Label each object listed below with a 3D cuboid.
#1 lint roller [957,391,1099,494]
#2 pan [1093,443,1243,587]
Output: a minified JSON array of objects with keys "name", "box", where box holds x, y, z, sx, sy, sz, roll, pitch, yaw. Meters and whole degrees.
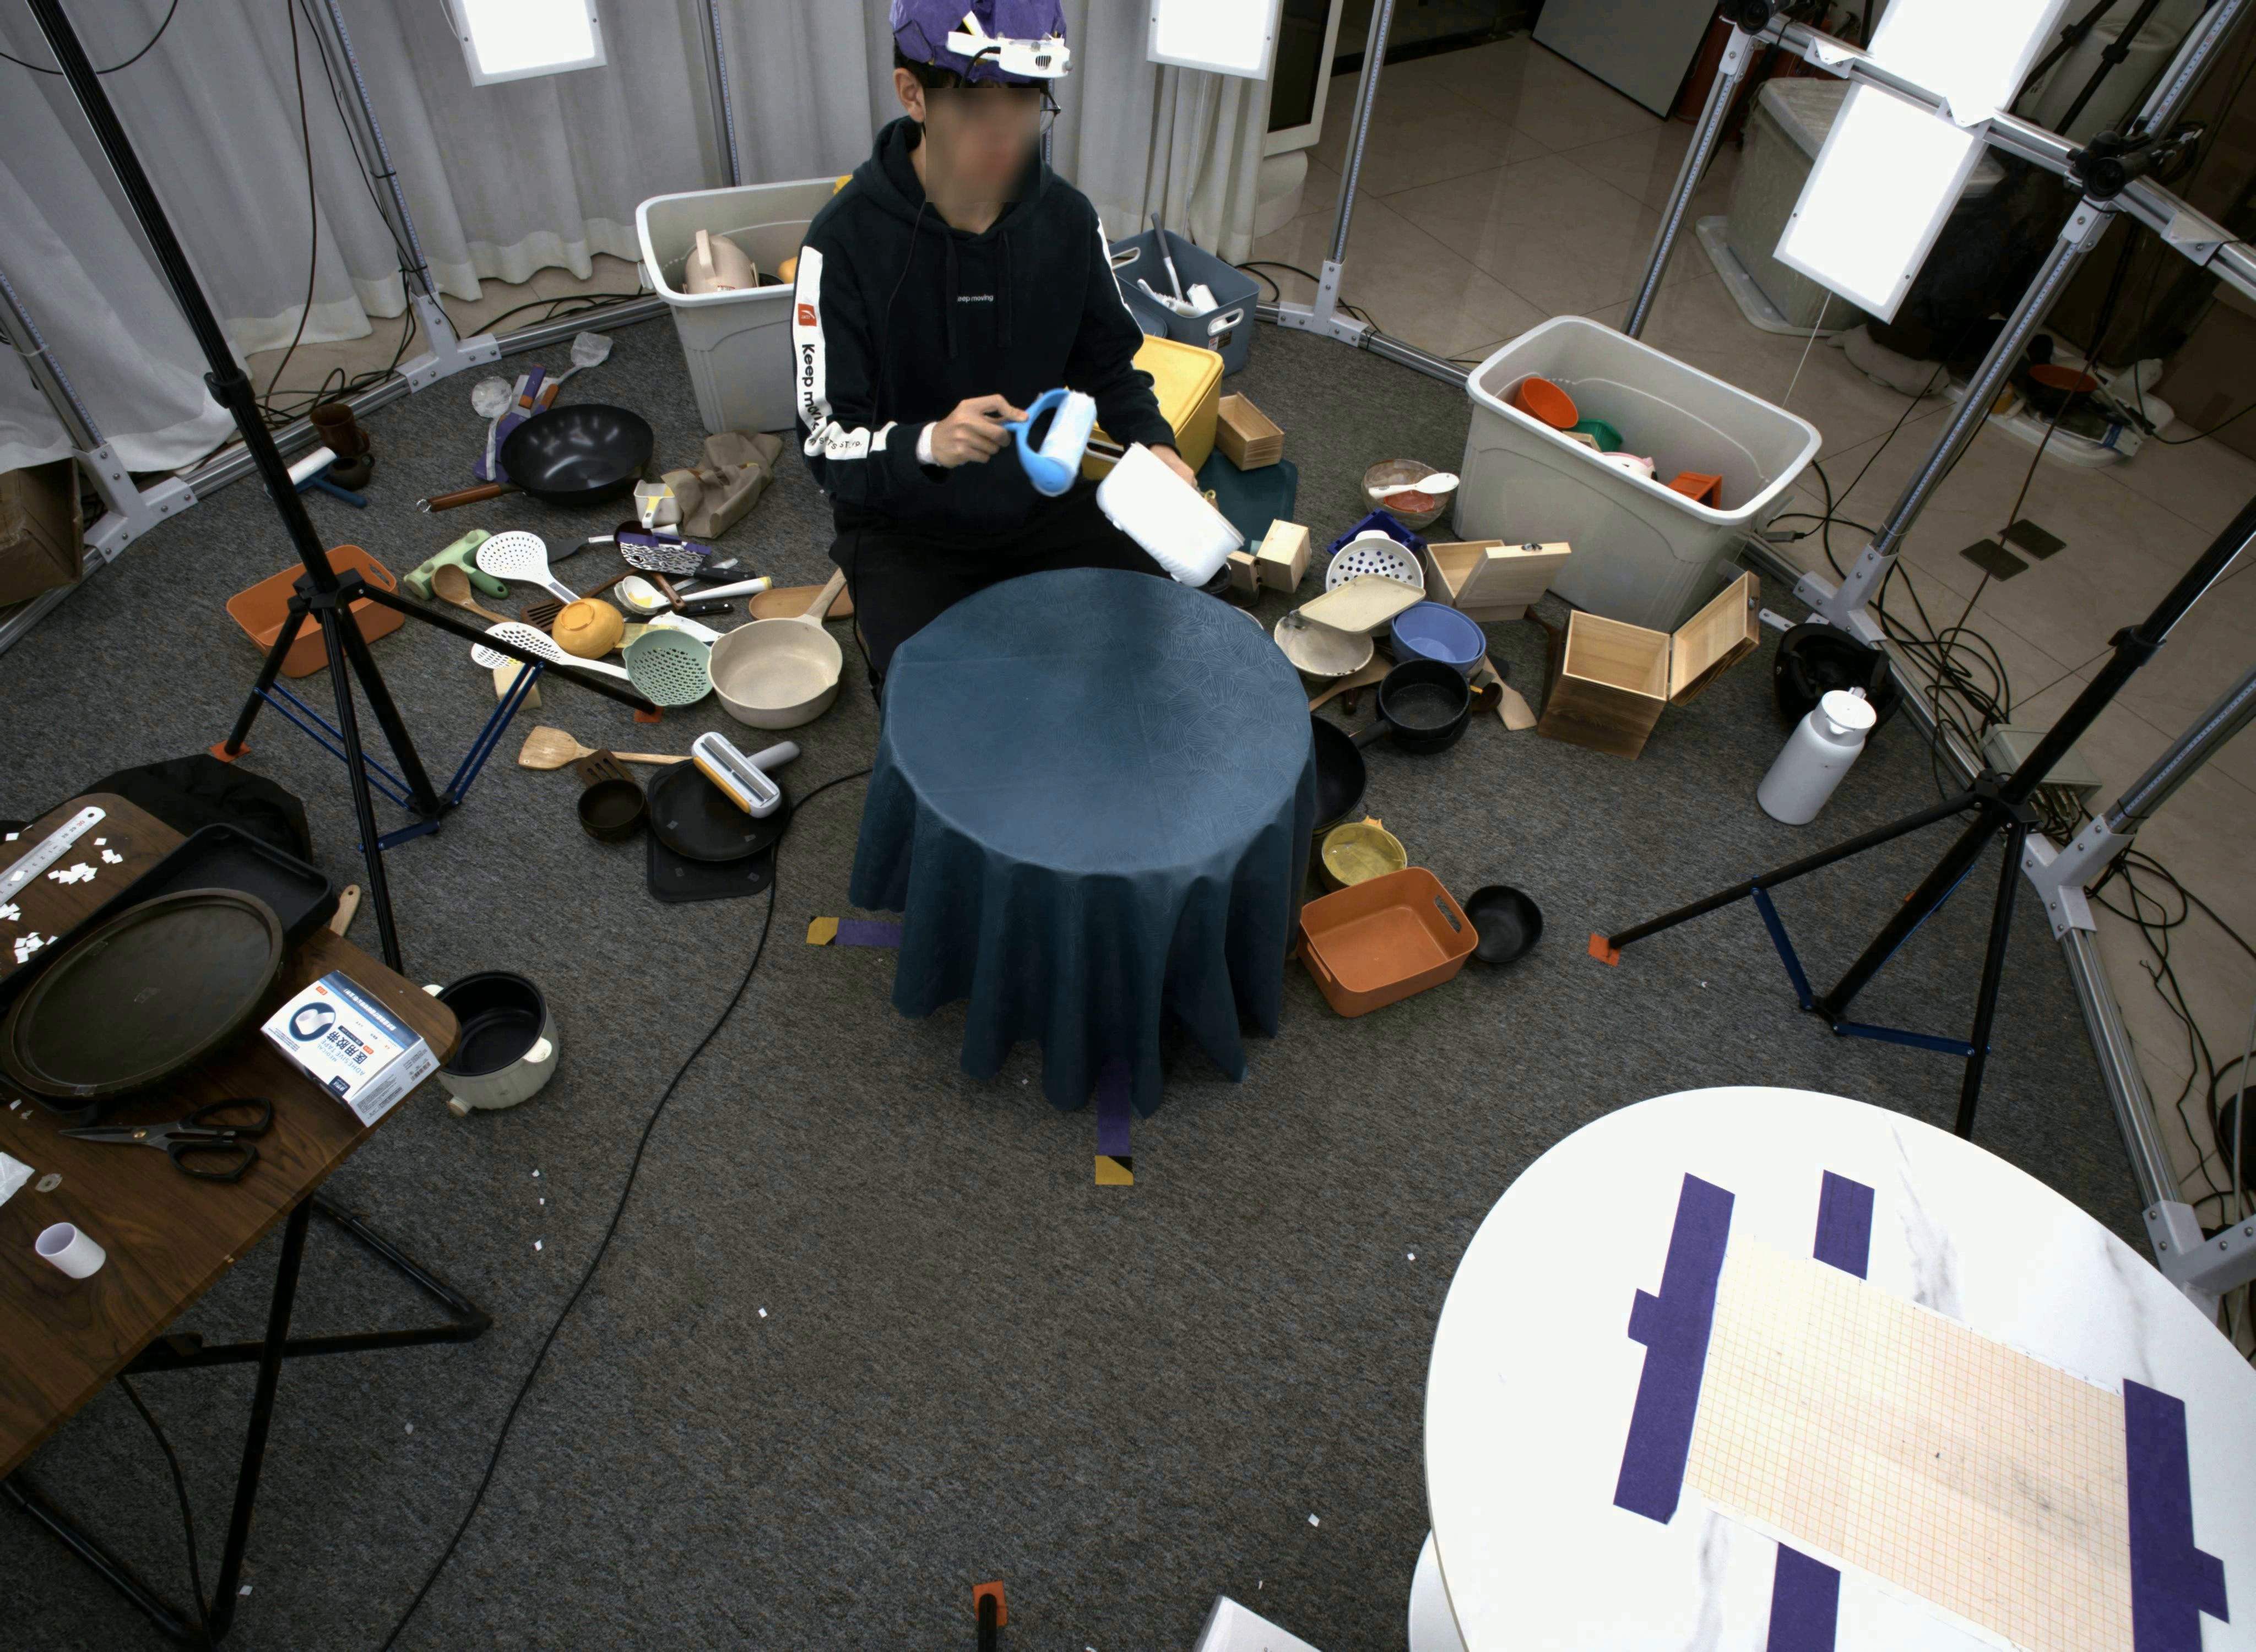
[{"name":"lint roller","box":[-0.141,-0.499,1.687,0.180,0.066,0.234,1,39,10]},{"name":"pan","box":[0.037,-0.431,1.797,0.199,0.101,0.360,37,9,-16]}]
